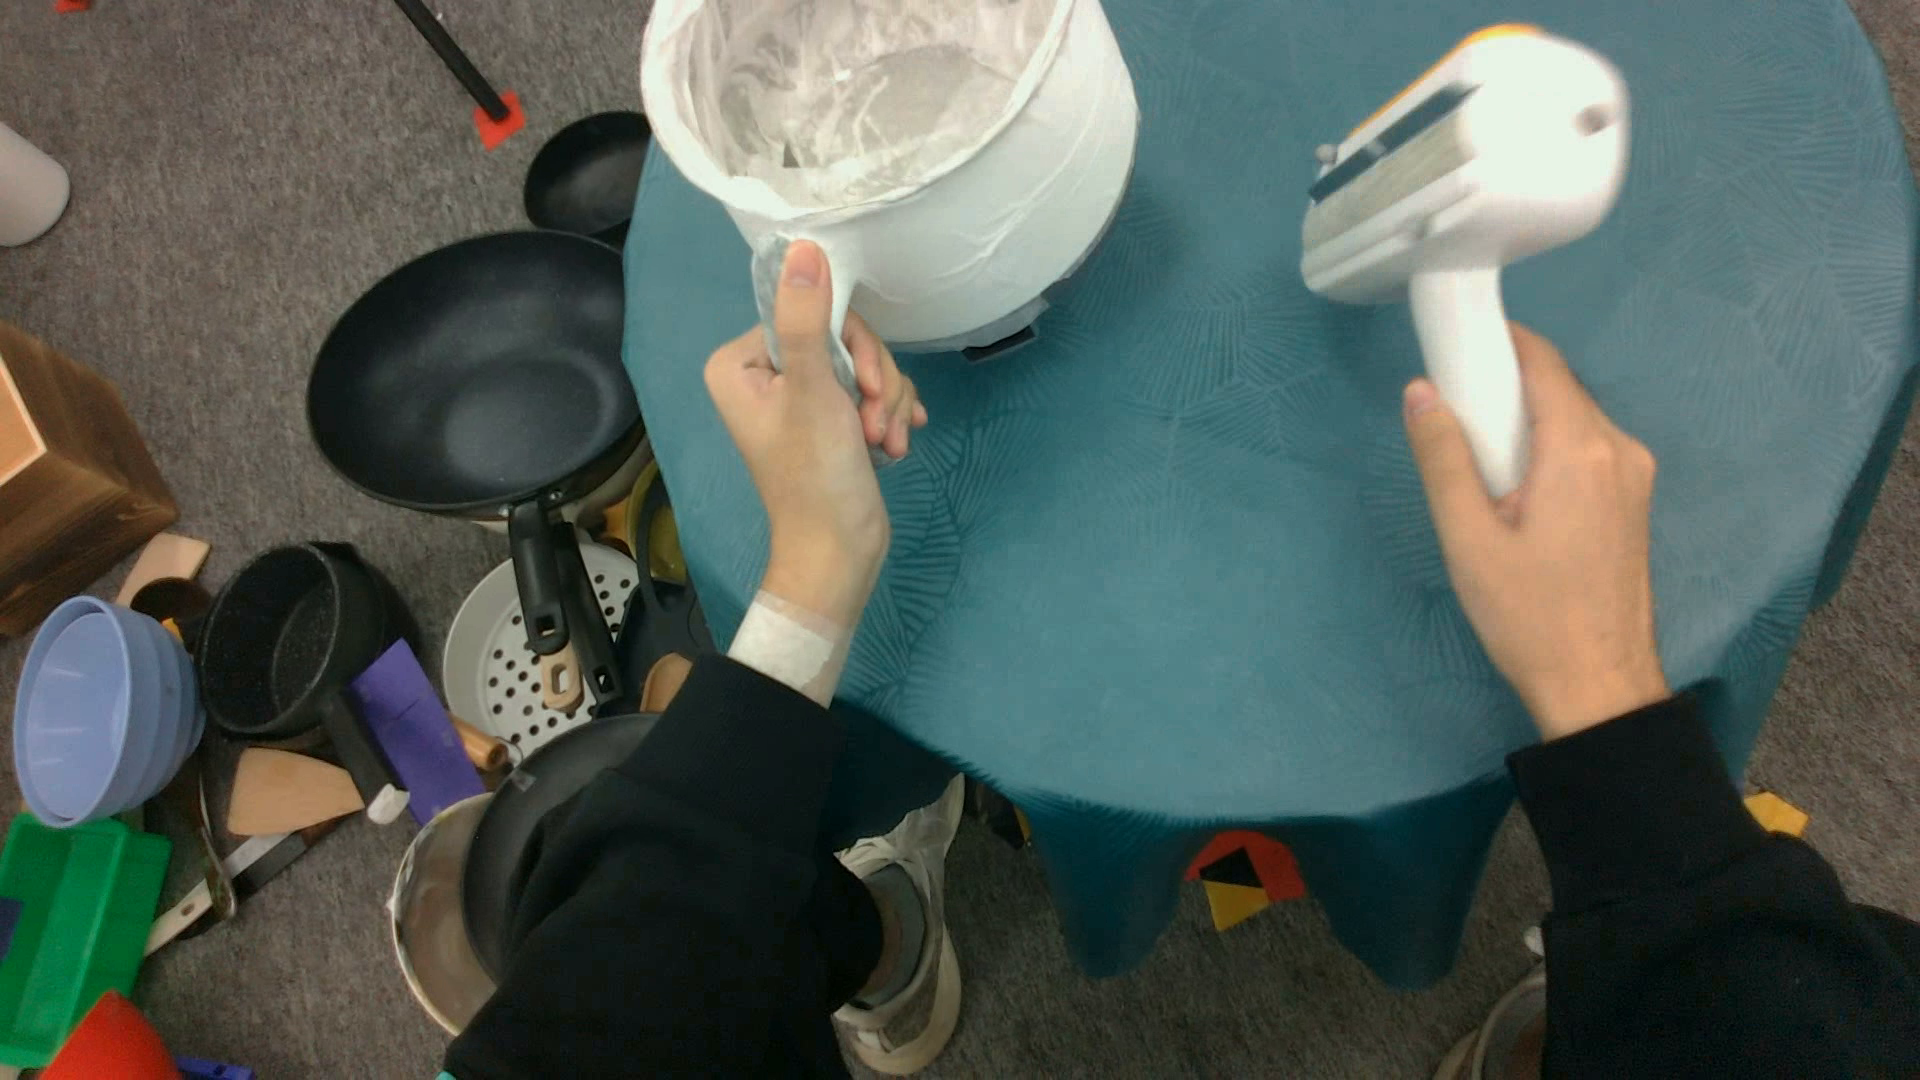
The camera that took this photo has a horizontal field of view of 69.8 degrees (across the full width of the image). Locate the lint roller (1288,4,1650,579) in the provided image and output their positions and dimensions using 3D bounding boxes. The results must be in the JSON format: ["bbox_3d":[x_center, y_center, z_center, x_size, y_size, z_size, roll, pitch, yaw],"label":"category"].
[{"bbox_3d":[0.184,-0.080,0.513,0.074,0.193,0.192,-2,95,-12],"label":"lint roller"}]

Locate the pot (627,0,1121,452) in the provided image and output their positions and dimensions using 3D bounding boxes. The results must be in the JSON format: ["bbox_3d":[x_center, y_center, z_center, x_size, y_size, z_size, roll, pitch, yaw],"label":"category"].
[{"bbox_3d":[-0.034,-0.159,0.568,0.178,0.136,0.234,8,73,22],"label":"pot"}]
